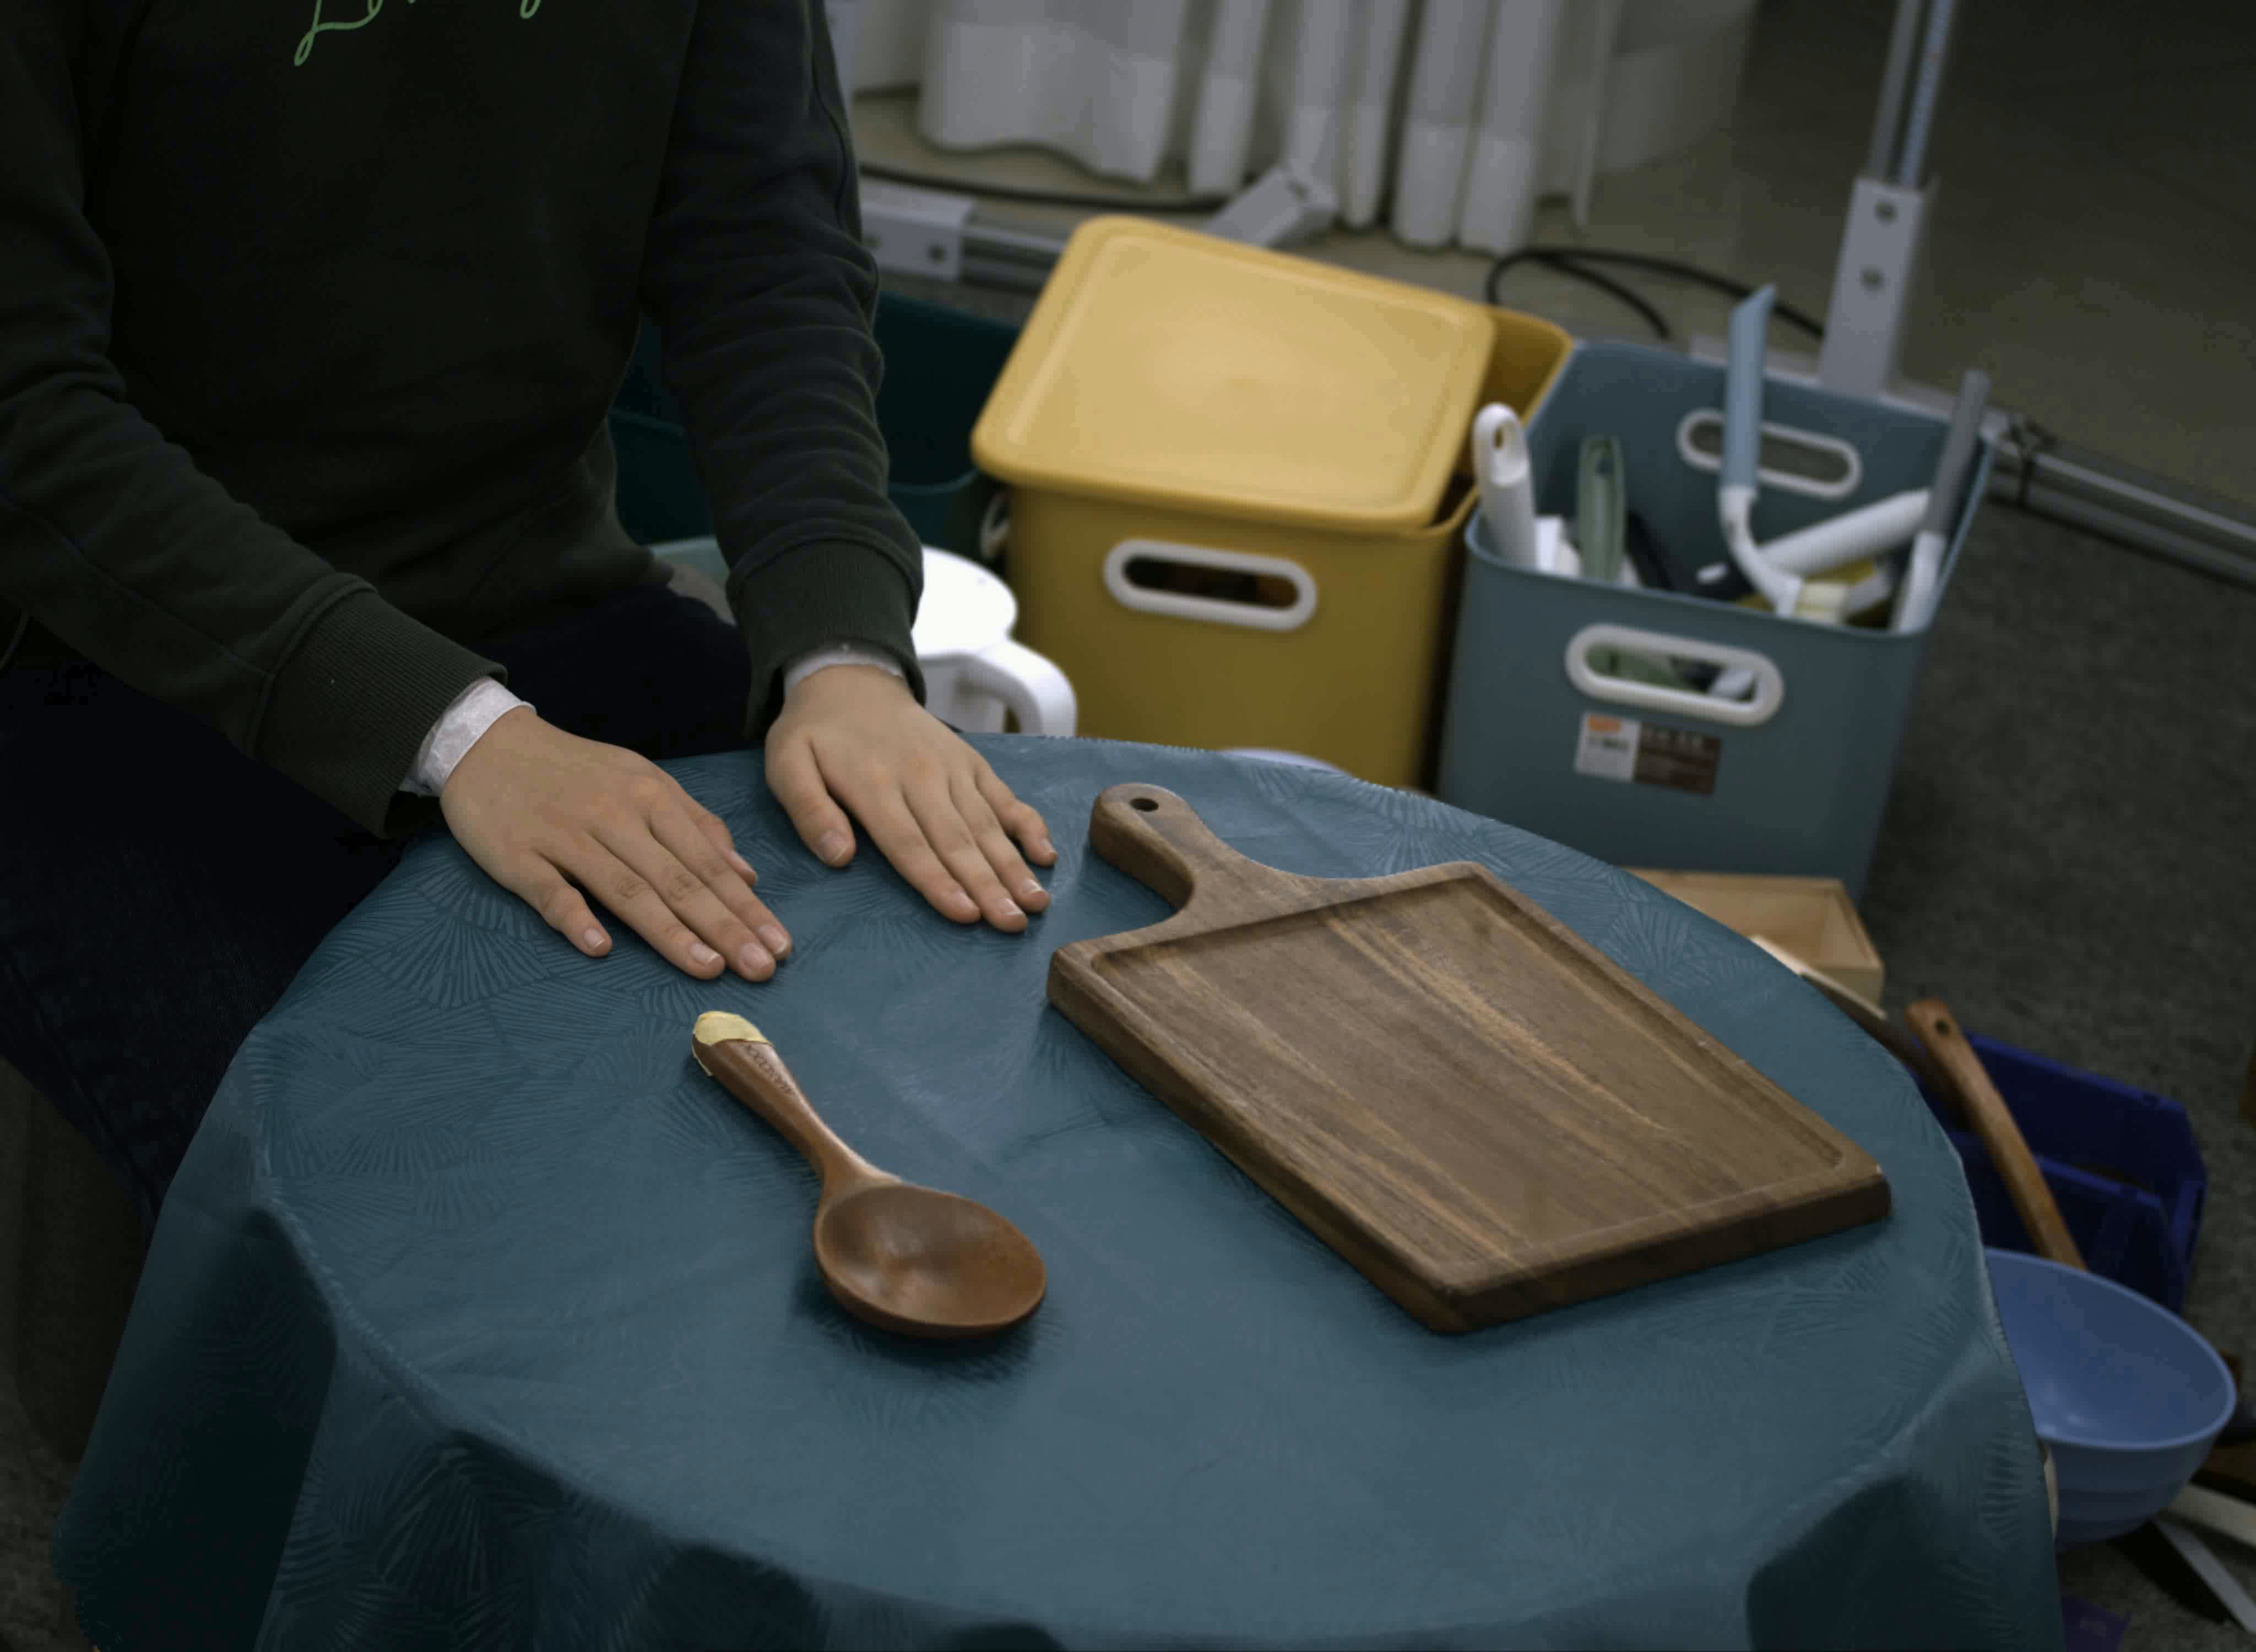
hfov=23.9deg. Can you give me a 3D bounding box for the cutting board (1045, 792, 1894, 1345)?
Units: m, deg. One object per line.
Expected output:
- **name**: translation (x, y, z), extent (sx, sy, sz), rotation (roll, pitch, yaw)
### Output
- **cutting board**: translation (0.090, 0.071, 1.907), extent (0.200, 0.023, 0.355), rotation (-12, 32, -31)

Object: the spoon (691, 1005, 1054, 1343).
- **spoon**: translation (-0.094, 0.116, 1.774), extent (0.075, 0.017, 0.218), rotation (-10, 32, -26)
